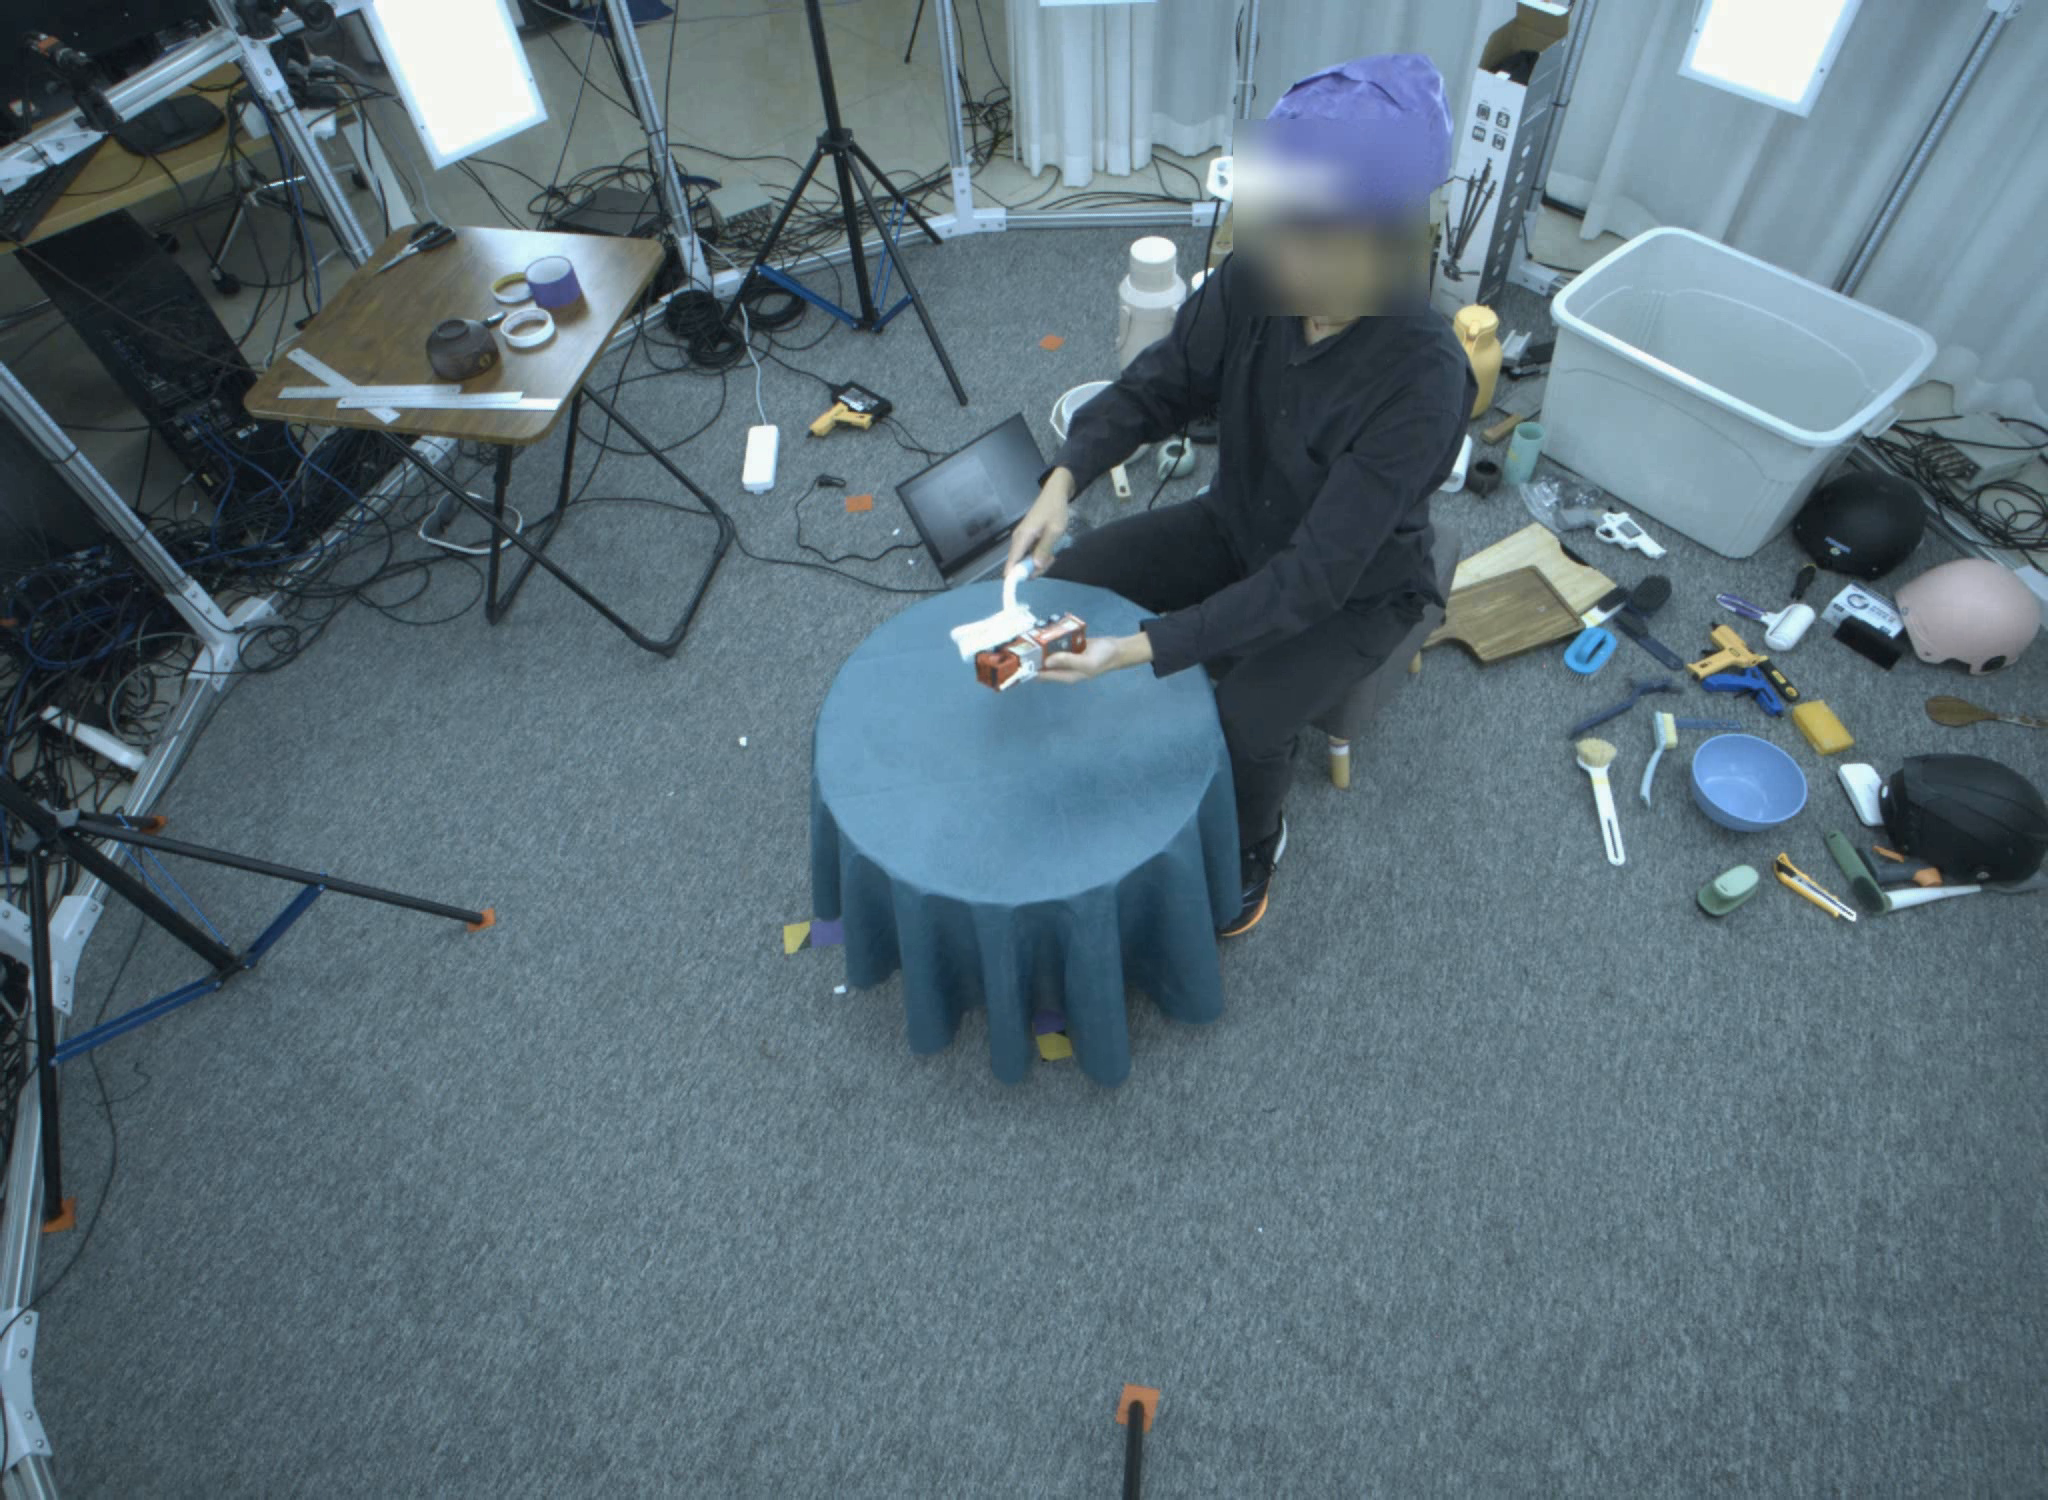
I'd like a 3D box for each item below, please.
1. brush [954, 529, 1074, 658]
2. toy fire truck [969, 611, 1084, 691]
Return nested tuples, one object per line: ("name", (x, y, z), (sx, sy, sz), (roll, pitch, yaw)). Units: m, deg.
("brush", (0.013, -0.211, 1.709), (0.081, 0.085, 0.327), (10, 36, 28))
("toy fire truck", (0.005, -0.130, 1.618), (0.170, 0.054, 0.069), (-30, 46, -32))
